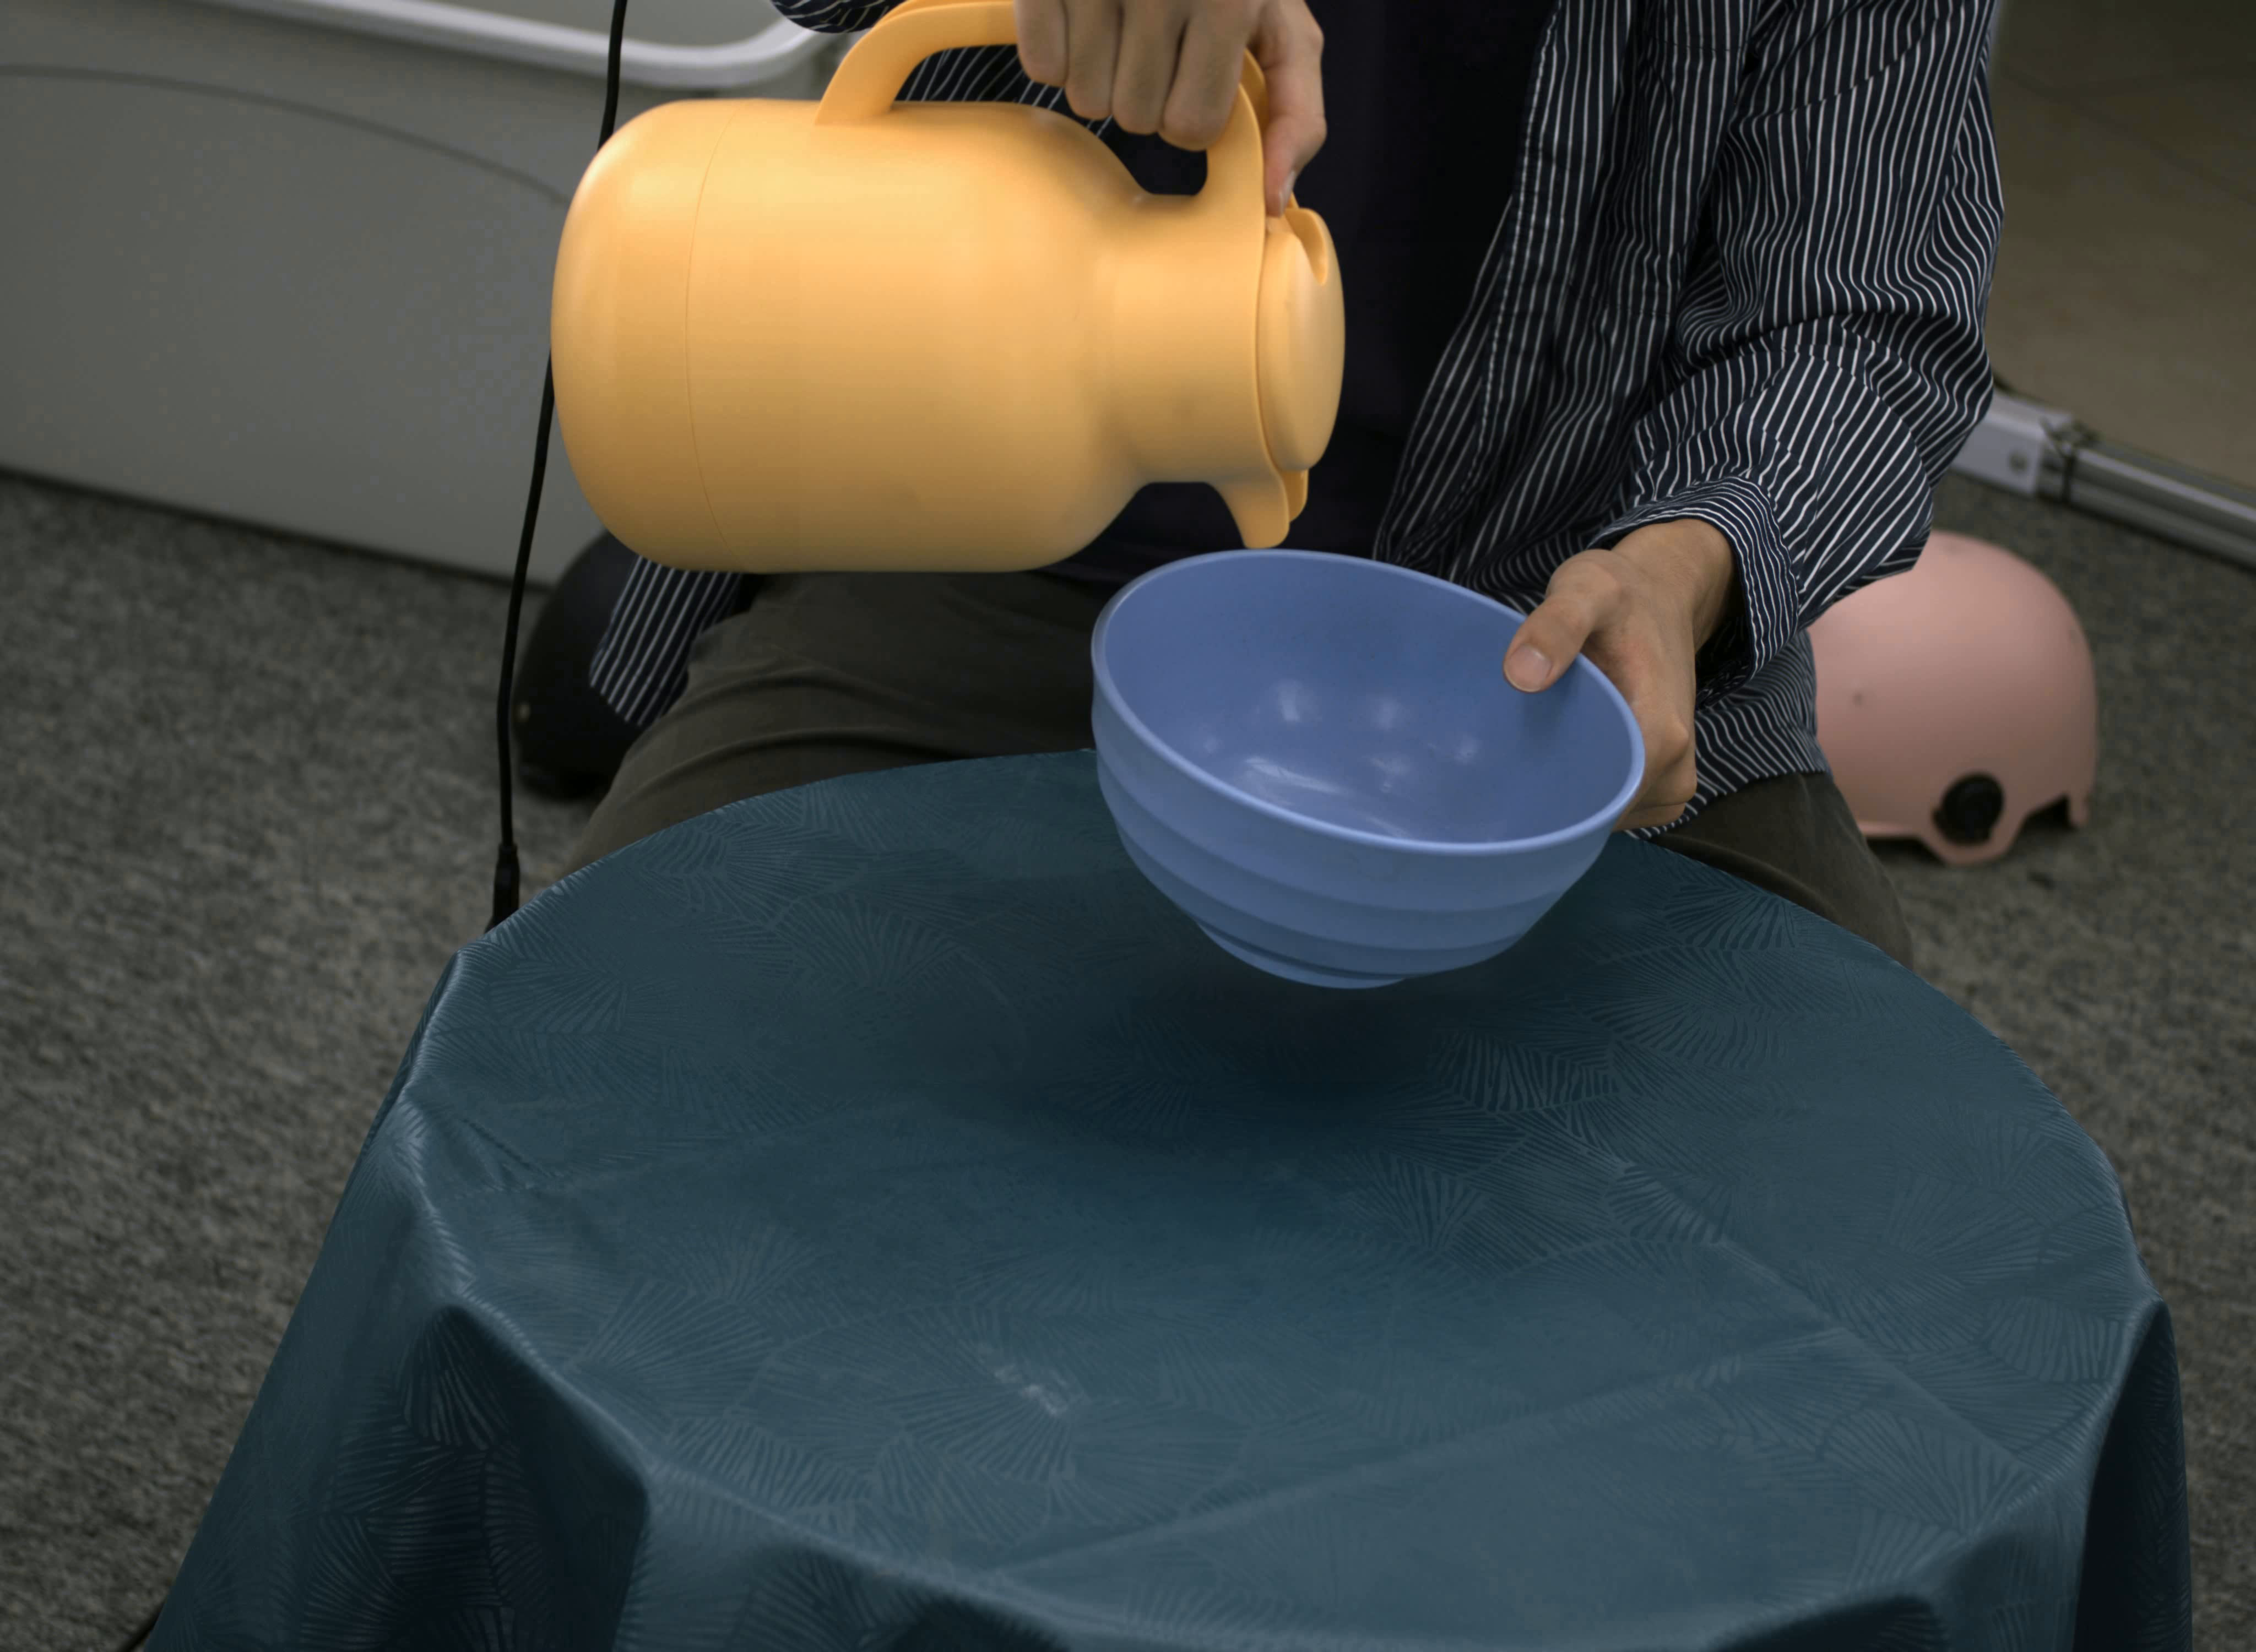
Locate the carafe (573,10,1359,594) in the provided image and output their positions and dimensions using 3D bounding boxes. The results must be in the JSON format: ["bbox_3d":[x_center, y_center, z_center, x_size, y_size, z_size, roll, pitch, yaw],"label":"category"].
[{"bbox_3d":[-0.053,-0.179,1.833,0.260,0.202,0.164,1,23,17],"label":"carafe"}]

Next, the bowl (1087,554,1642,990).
[{"bbox_3d":[0.073,-0.007,1.861,0.195,0.095,0.198,10,30,-6],"label":"bowl"}]
